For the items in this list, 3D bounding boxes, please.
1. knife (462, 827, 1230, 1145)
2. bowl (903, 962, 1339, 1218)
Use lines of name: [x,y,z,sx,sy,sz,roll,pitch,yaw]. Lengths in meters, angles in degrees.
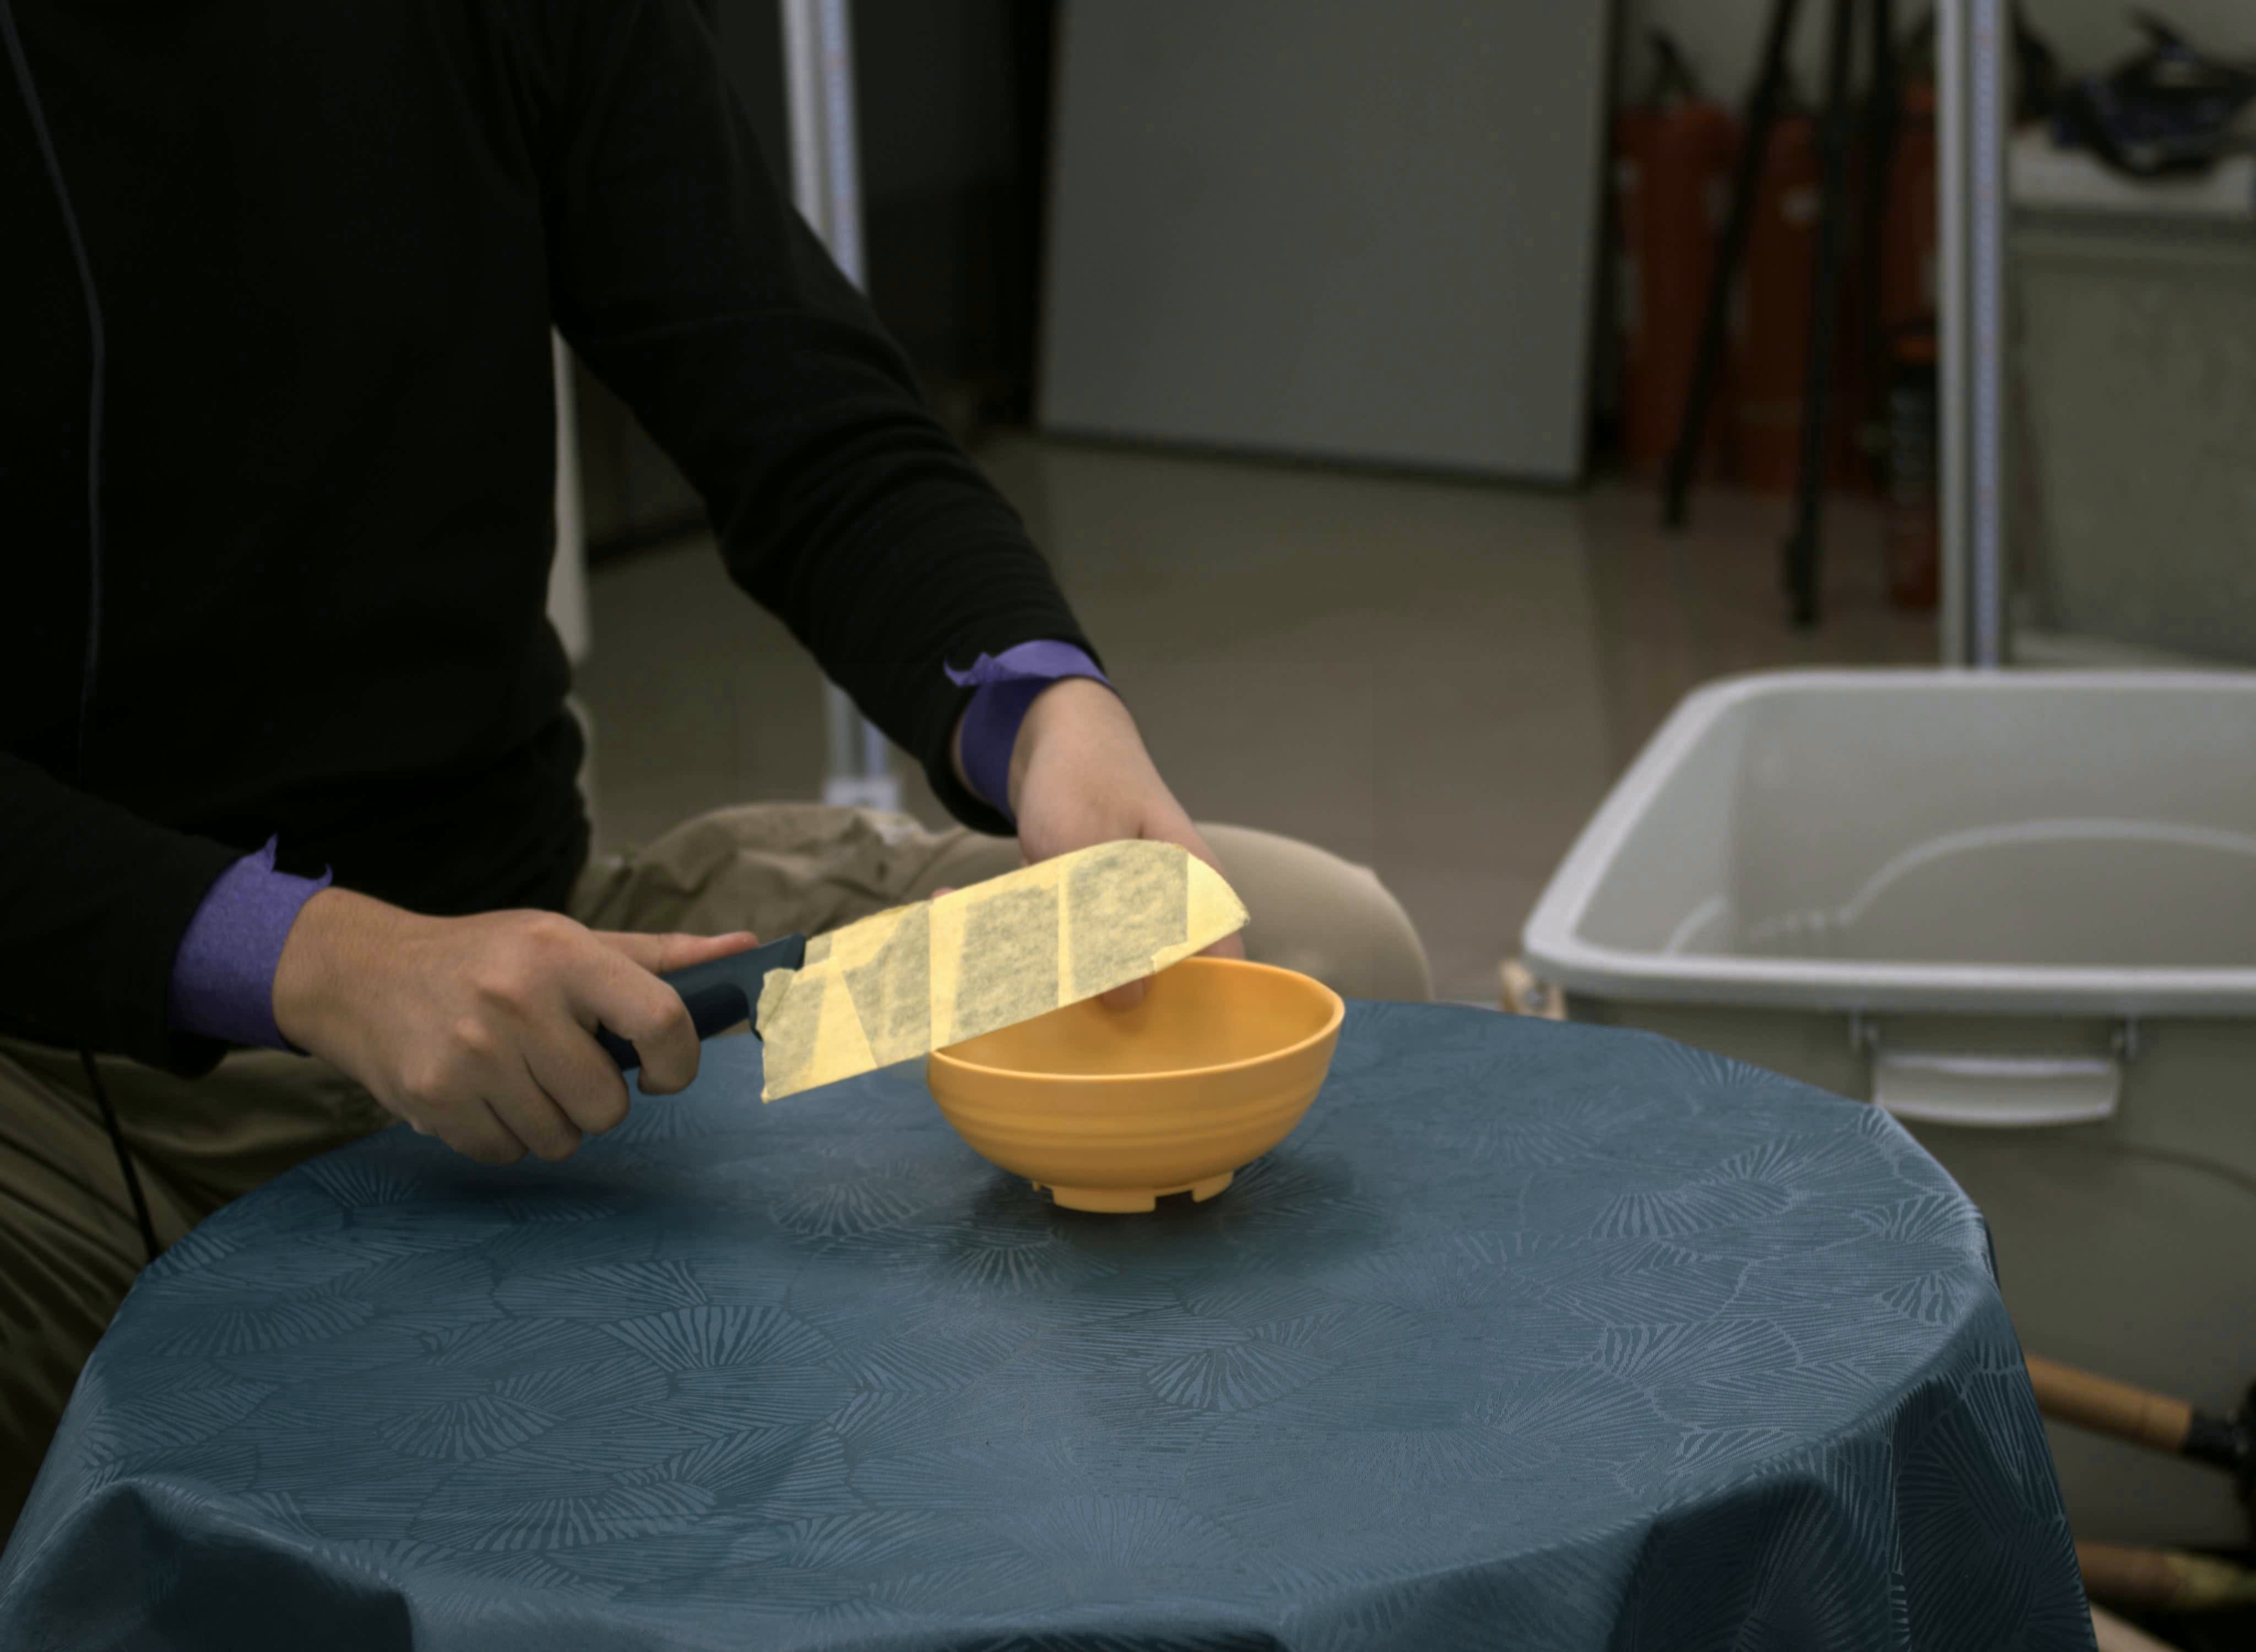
knife: [-0.095,0.059,1.771,0.289,0.027,0.081,-19,36,20]
bowl: [-0.002,0.090,1.766,0.143,0.061,0.145,-2,13,-1]
